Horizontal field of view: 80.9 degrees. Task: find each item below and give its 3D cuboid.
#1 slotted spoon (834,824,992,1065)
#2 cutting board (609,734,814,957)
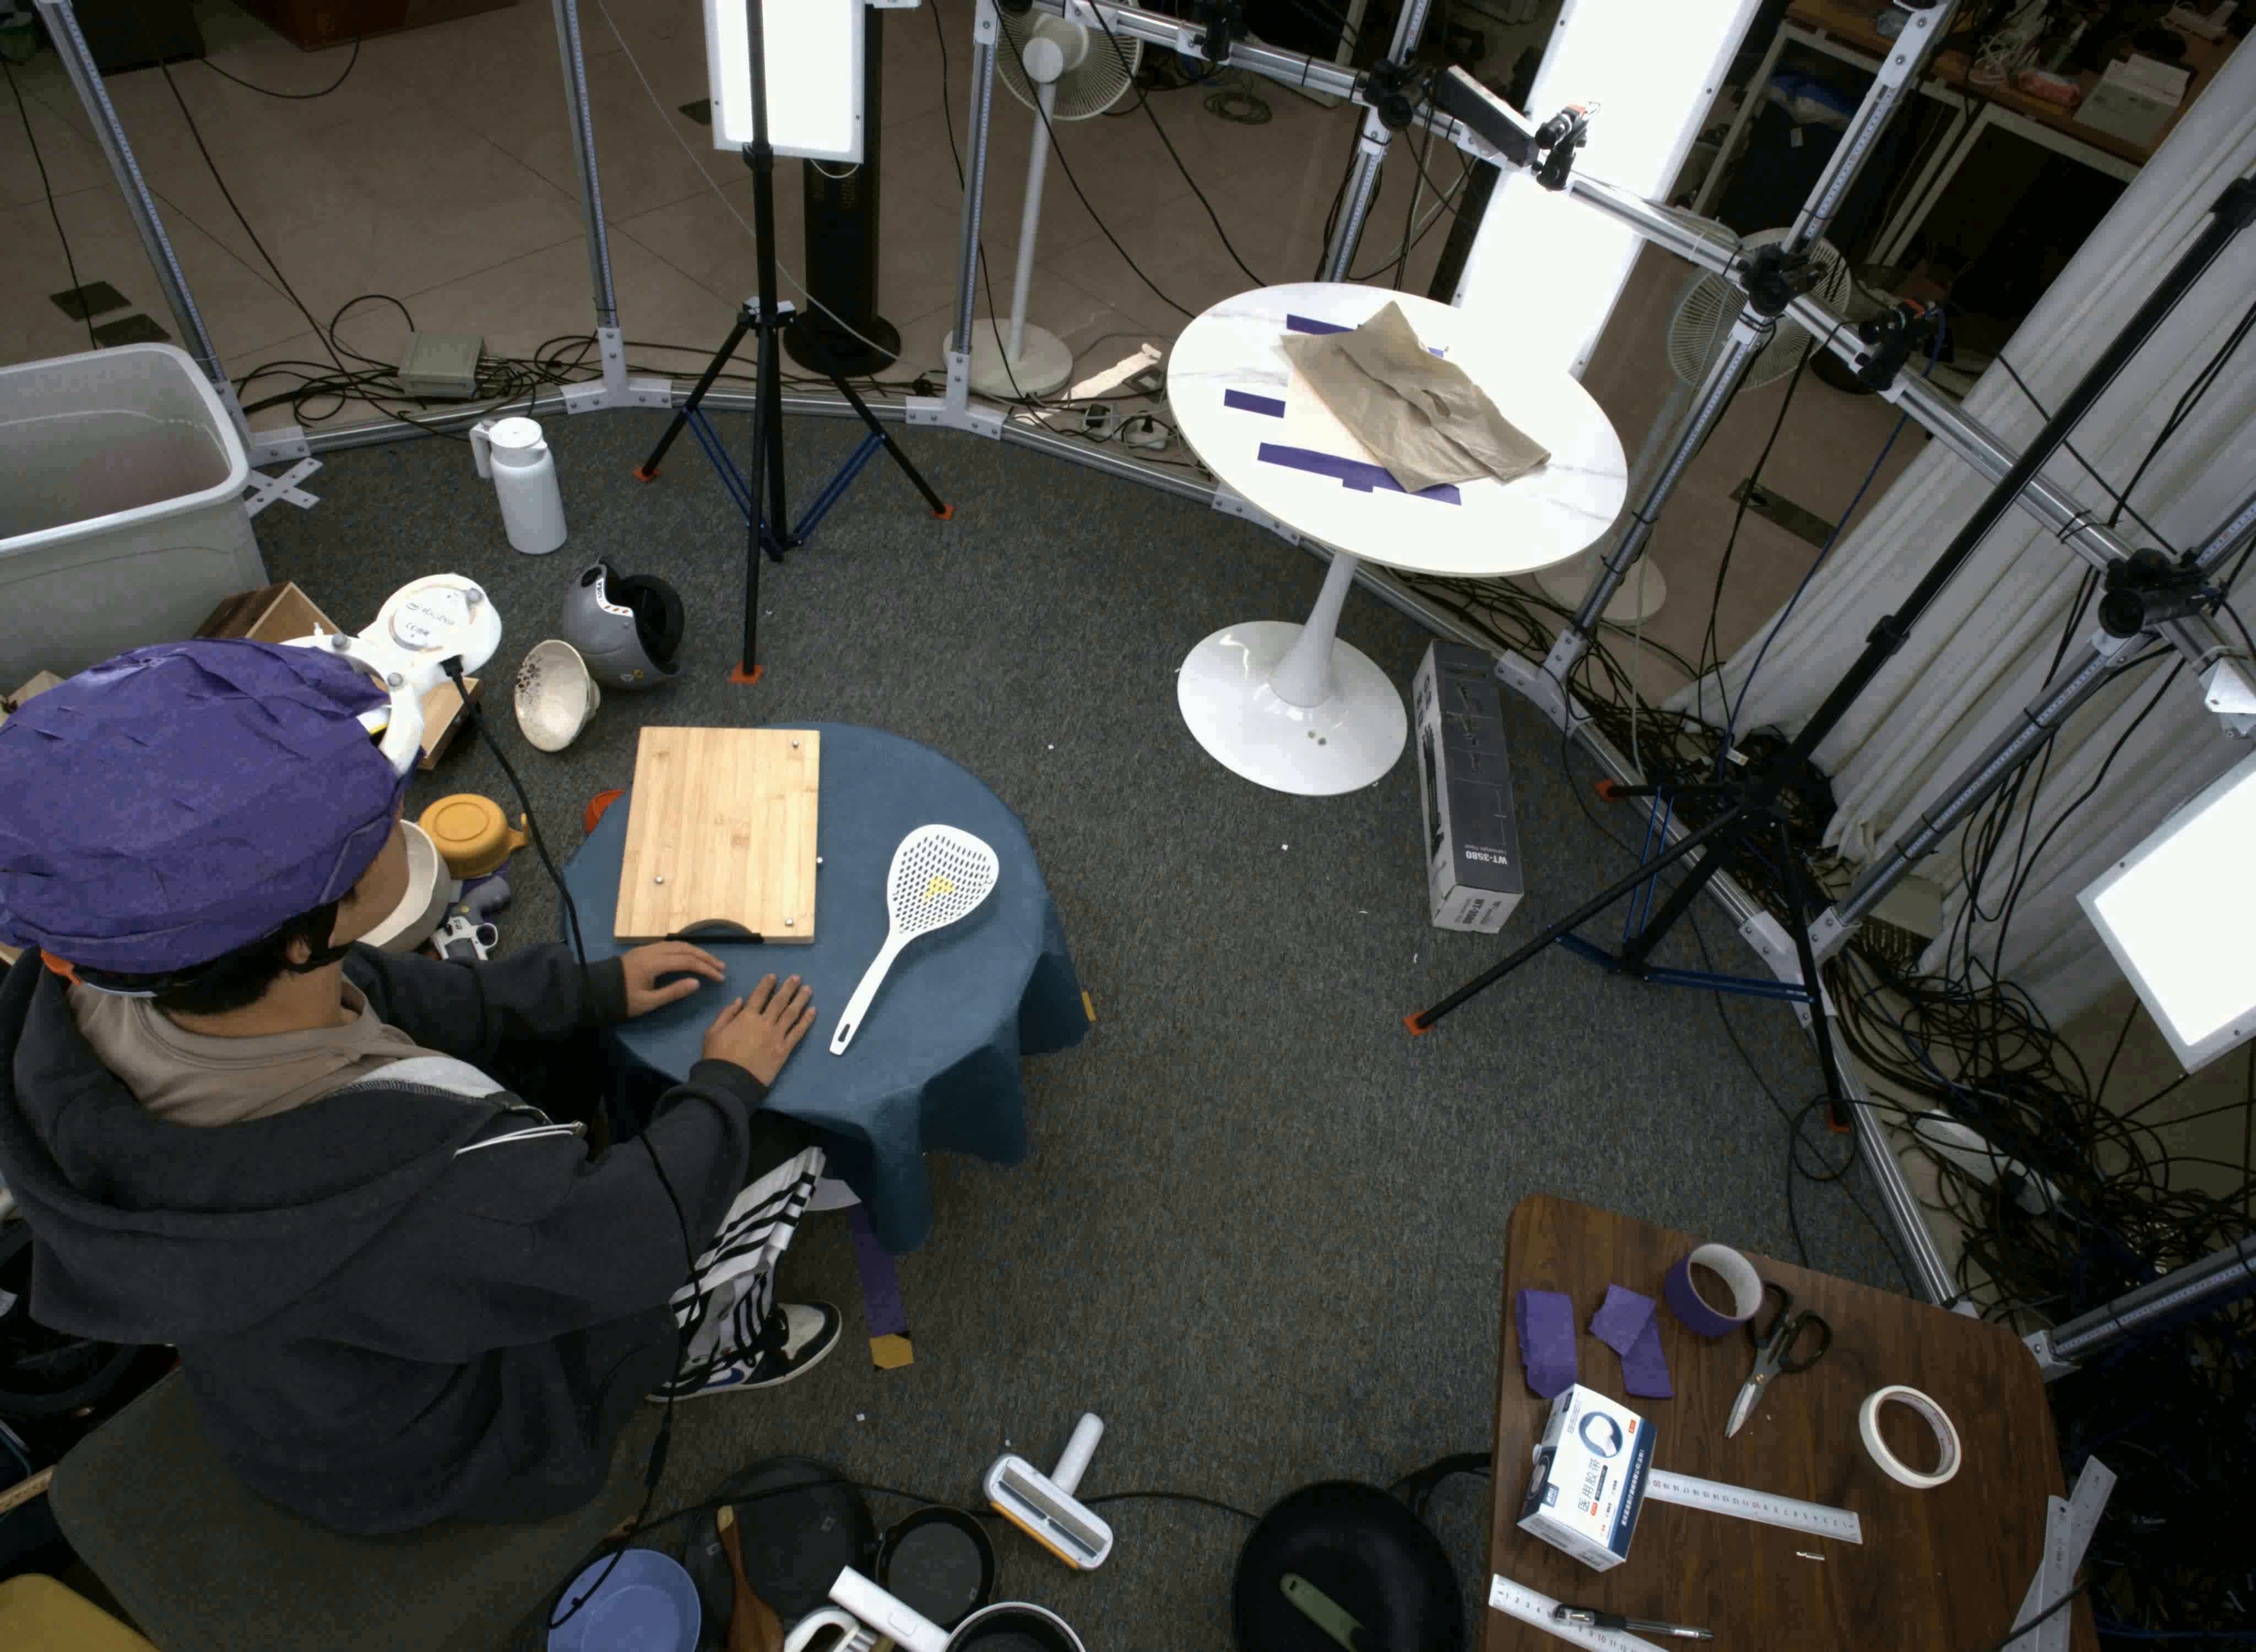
[{"bbox_3d":[-0.288,0.141,1.632,0.135,0.051,0.345,25,52,2],"label":"slotted spoon"},{"bbox_3d":[-0.535,0.015,1.679,0.251,0.024,0.341,0,54,-14],"label":"cutting board"}]
